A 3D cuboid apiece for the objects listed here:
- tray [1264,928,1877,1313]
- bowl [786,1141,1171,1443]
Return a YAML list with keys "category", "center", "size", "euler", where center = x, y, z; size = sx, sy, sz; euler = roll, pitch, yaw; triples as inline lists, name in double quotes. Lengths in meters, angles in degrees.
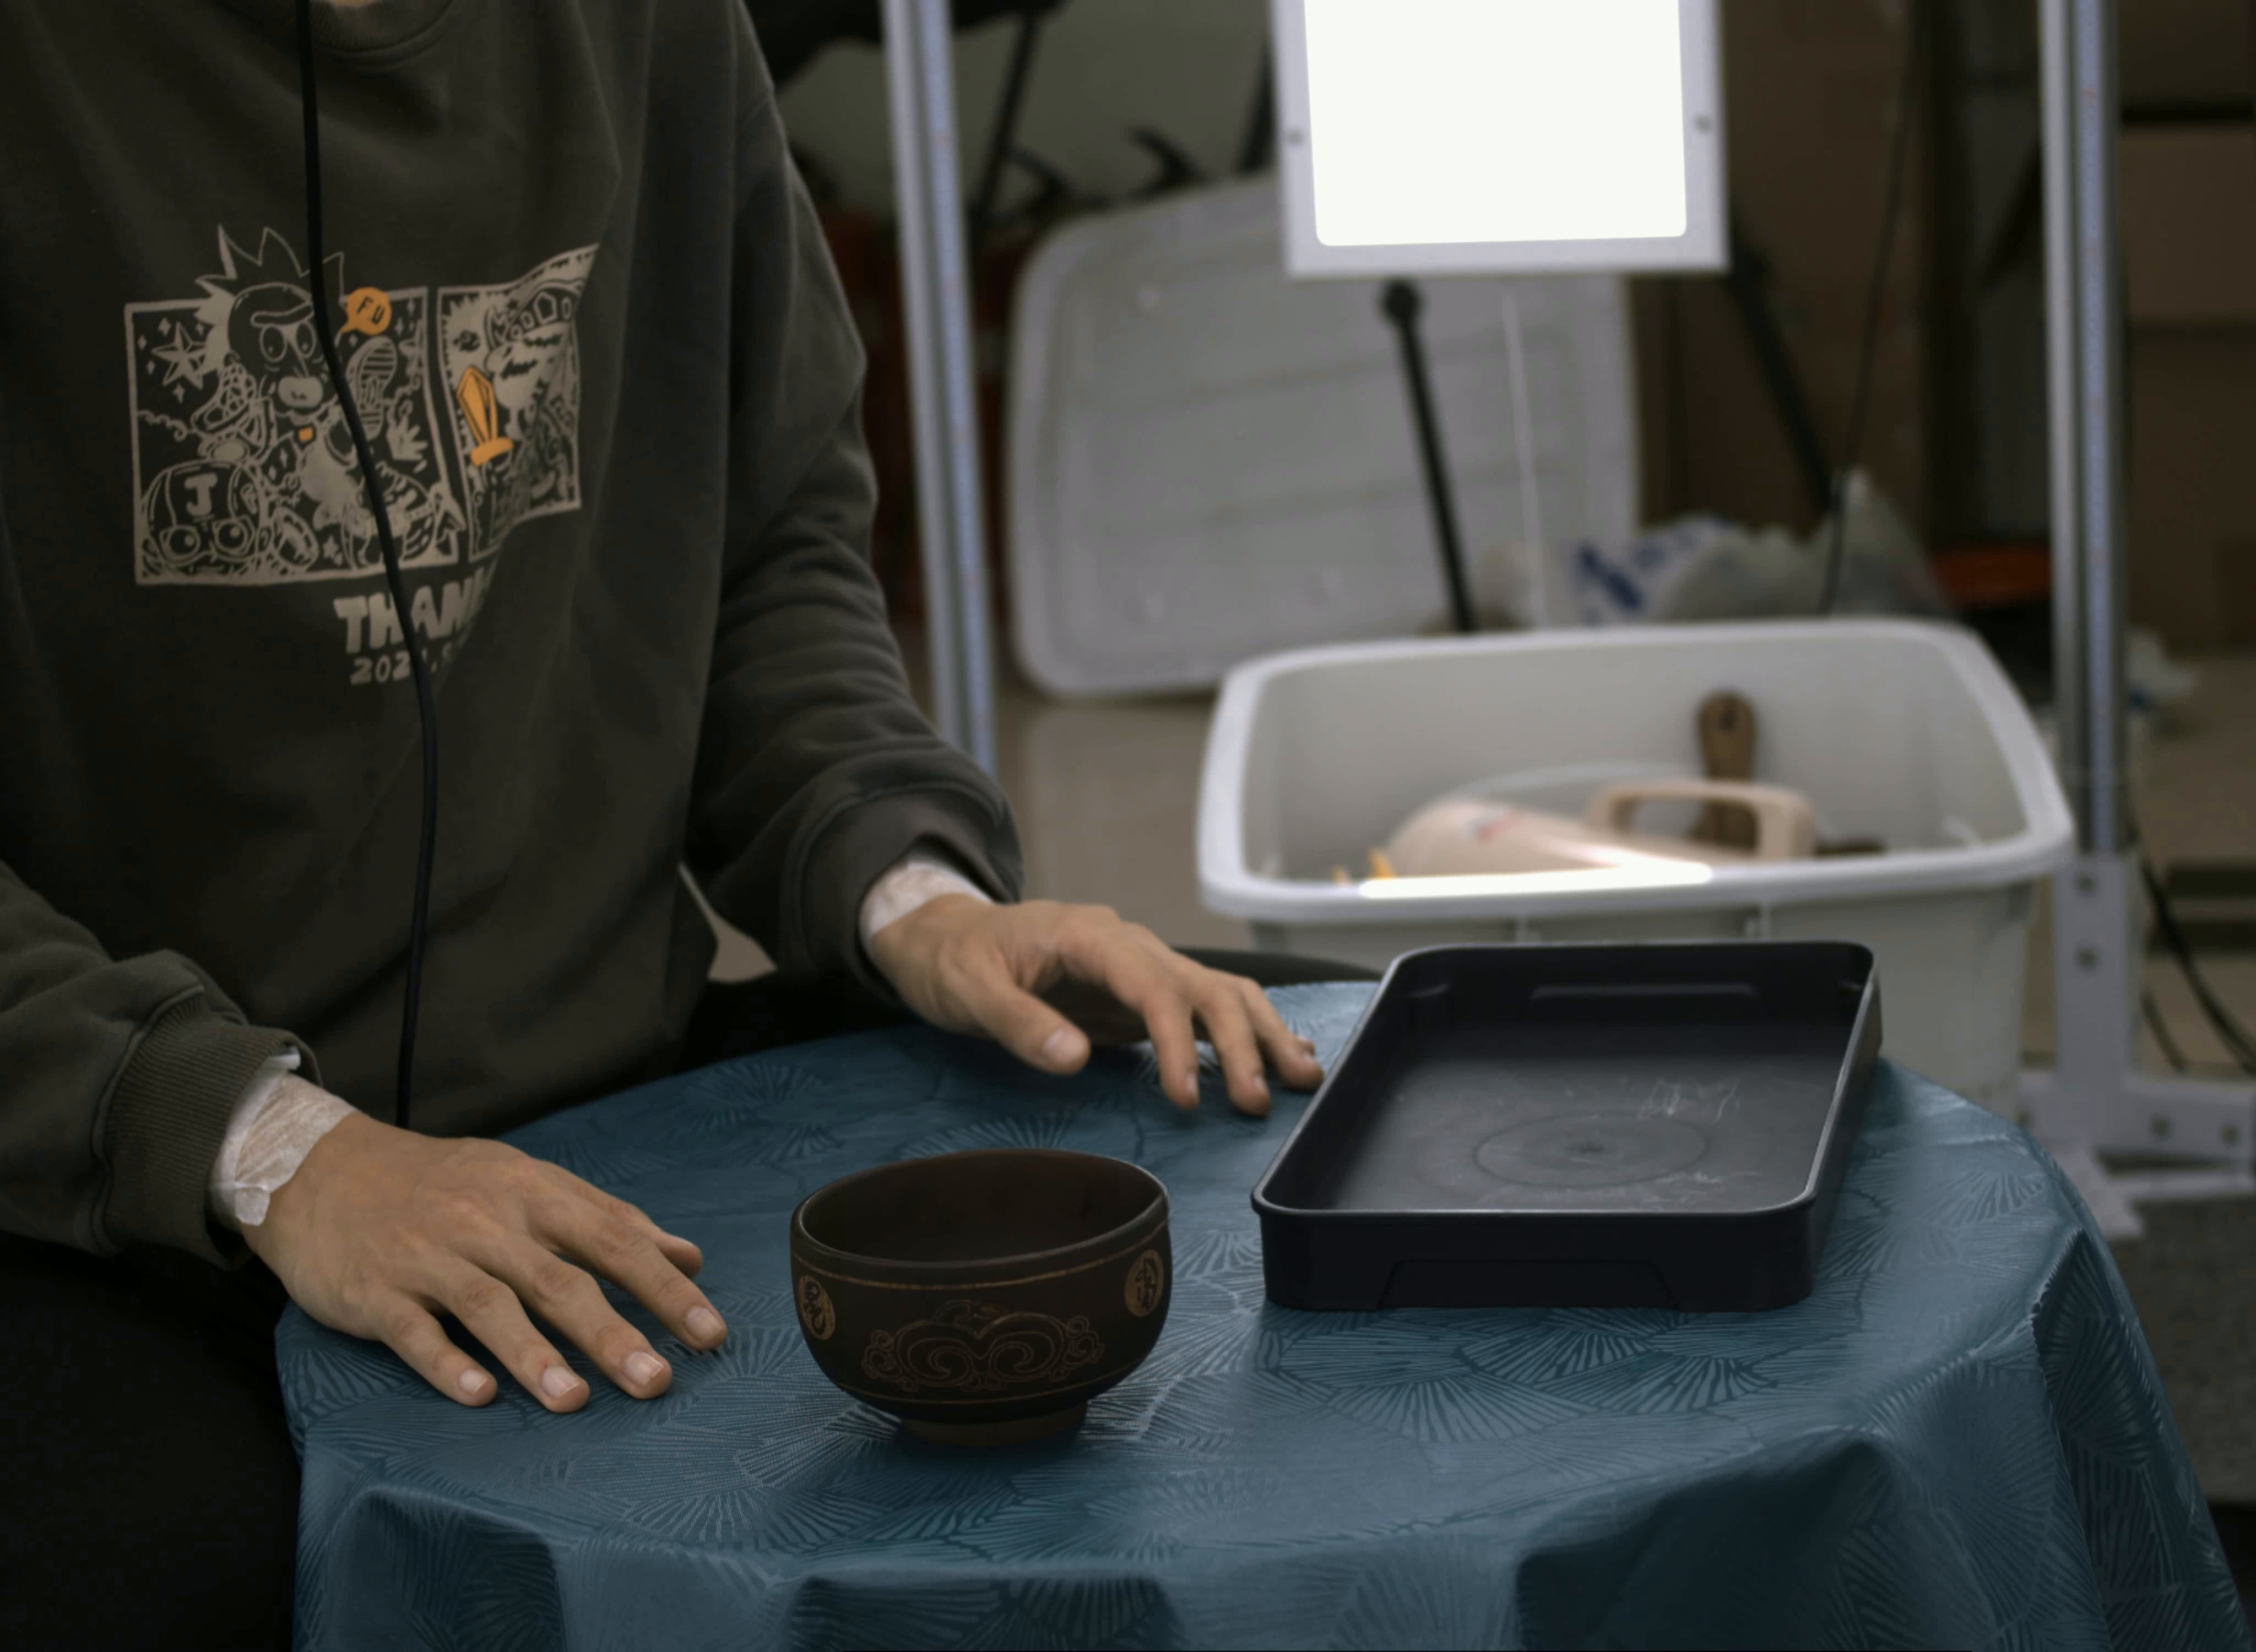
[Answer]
- category: "tray"
  center: [0.160, 0.097, 1.885]
  size: [0.186, 0.037, 0.314]
  euler: [-3, 15, 12]
- category: "bowl"
  center: [-0.044, 0.146, 1.683]
  size: [0.118, 0.070, 0.118]
  euler: [-7, 14, 0]
